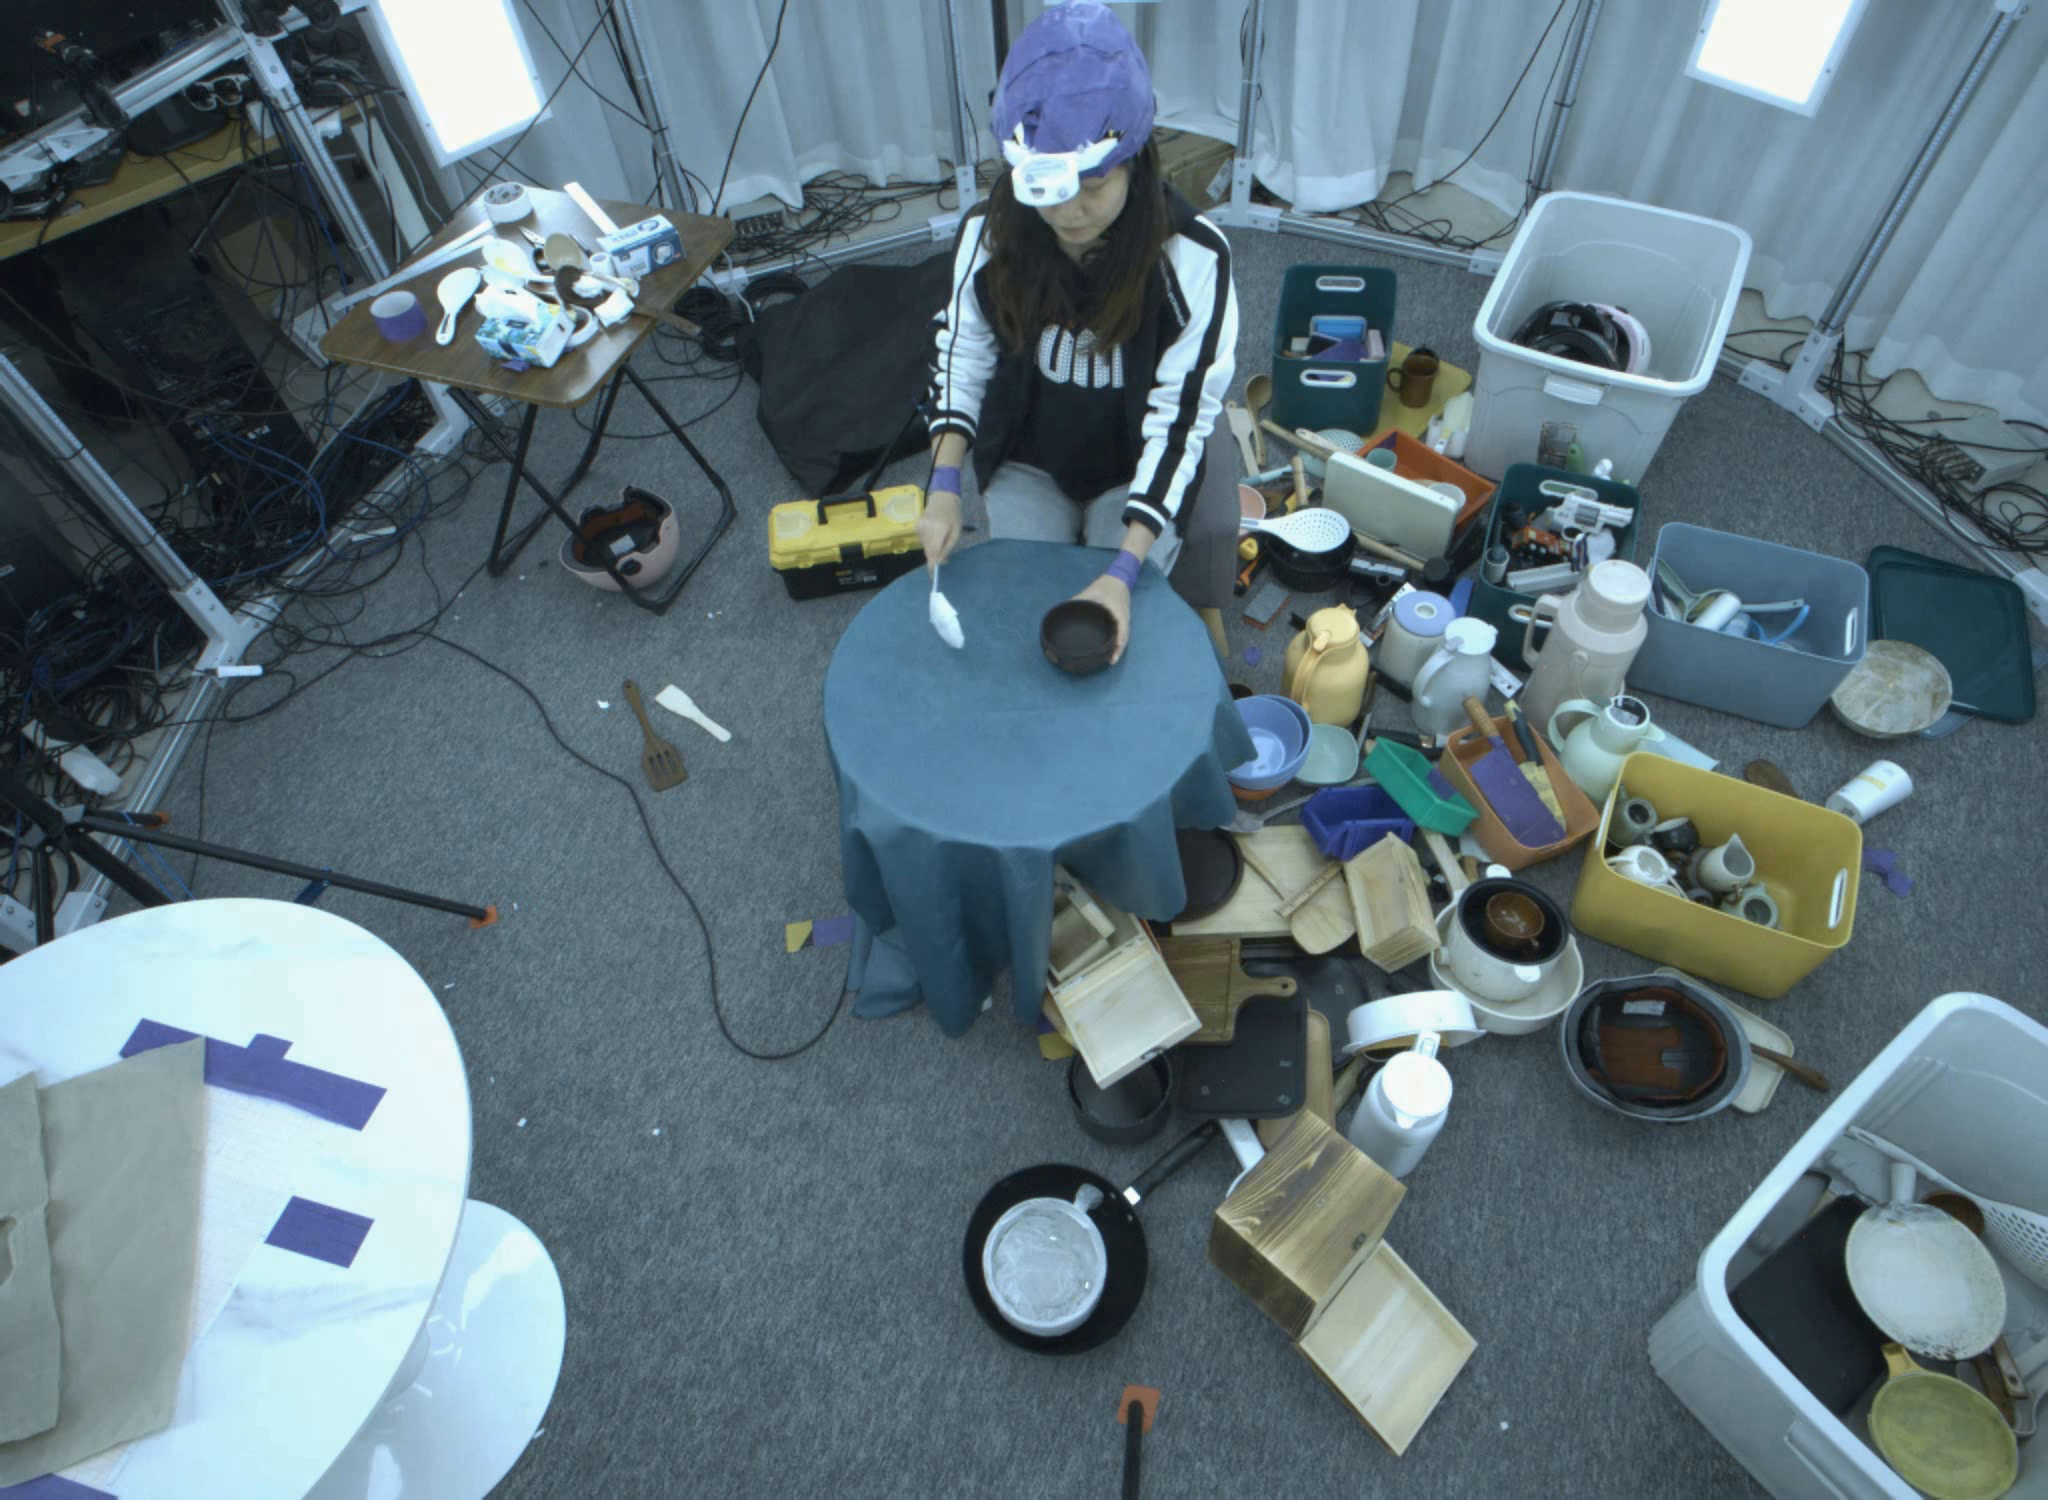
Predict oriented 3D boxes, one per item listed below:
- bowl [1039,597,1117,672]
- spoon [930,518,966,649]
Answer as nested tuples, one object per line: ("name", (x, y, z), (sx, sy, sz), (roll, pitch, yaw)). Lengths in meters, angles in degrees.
("bowl", (0.082, -0.166, 1.857), (0.118, 0.070, 0.117), (0, 55, 2))
("spoon", (-0.112, -0.268, 1.904), (0.059, 0.101, 0.274), (2, 50, 1))
